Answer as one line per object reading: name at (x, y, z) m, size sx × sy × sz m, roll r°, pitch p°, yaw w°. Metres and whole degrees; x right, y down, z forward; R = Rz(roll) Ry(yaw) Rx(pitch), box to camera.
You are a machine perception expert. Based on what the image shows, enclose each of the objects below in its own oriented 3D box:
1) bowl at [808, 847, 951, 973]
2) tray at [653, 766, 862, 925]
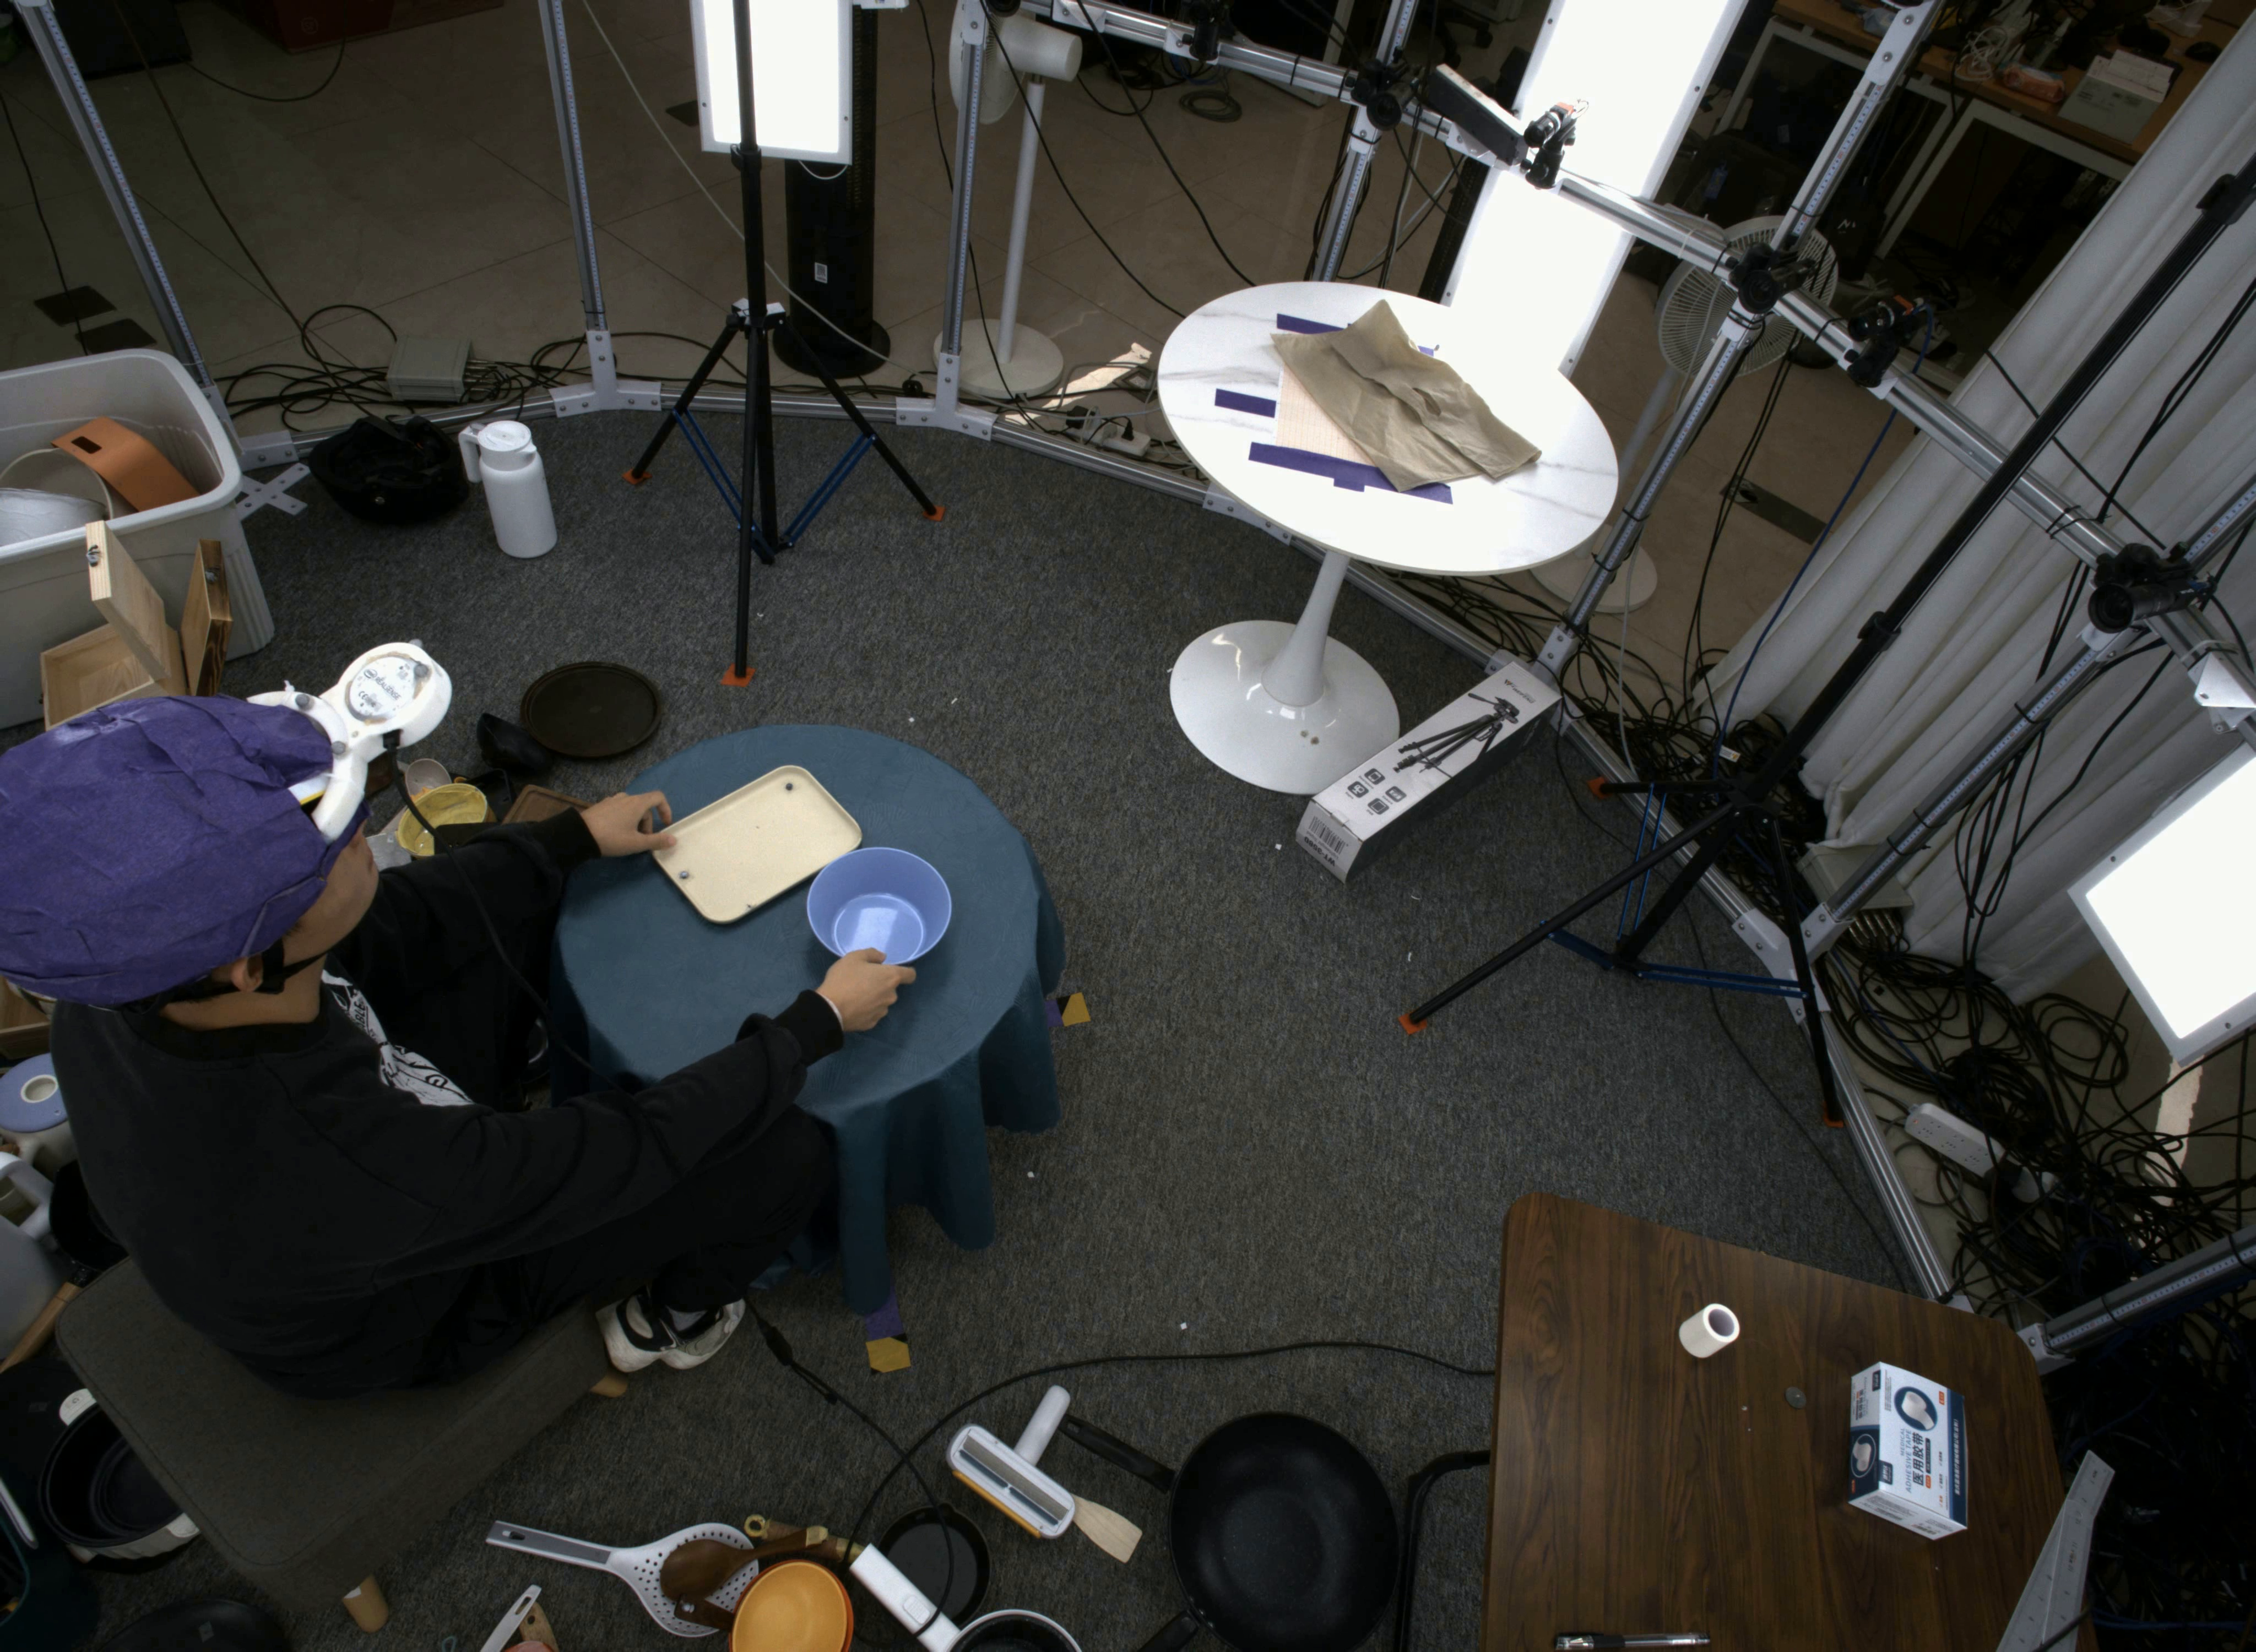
bowl at (-0.310, 0.115, 1.627) m, size 0.175 × 0.072 × 0.173 m, roll 7°, pitch 52°, yaw -8°
tray at (-0.481, 0.022, 1.687) m, size 0.240 × 0.018 × 0.167 m, roll -34°, pitch 68°, yaw -32°
